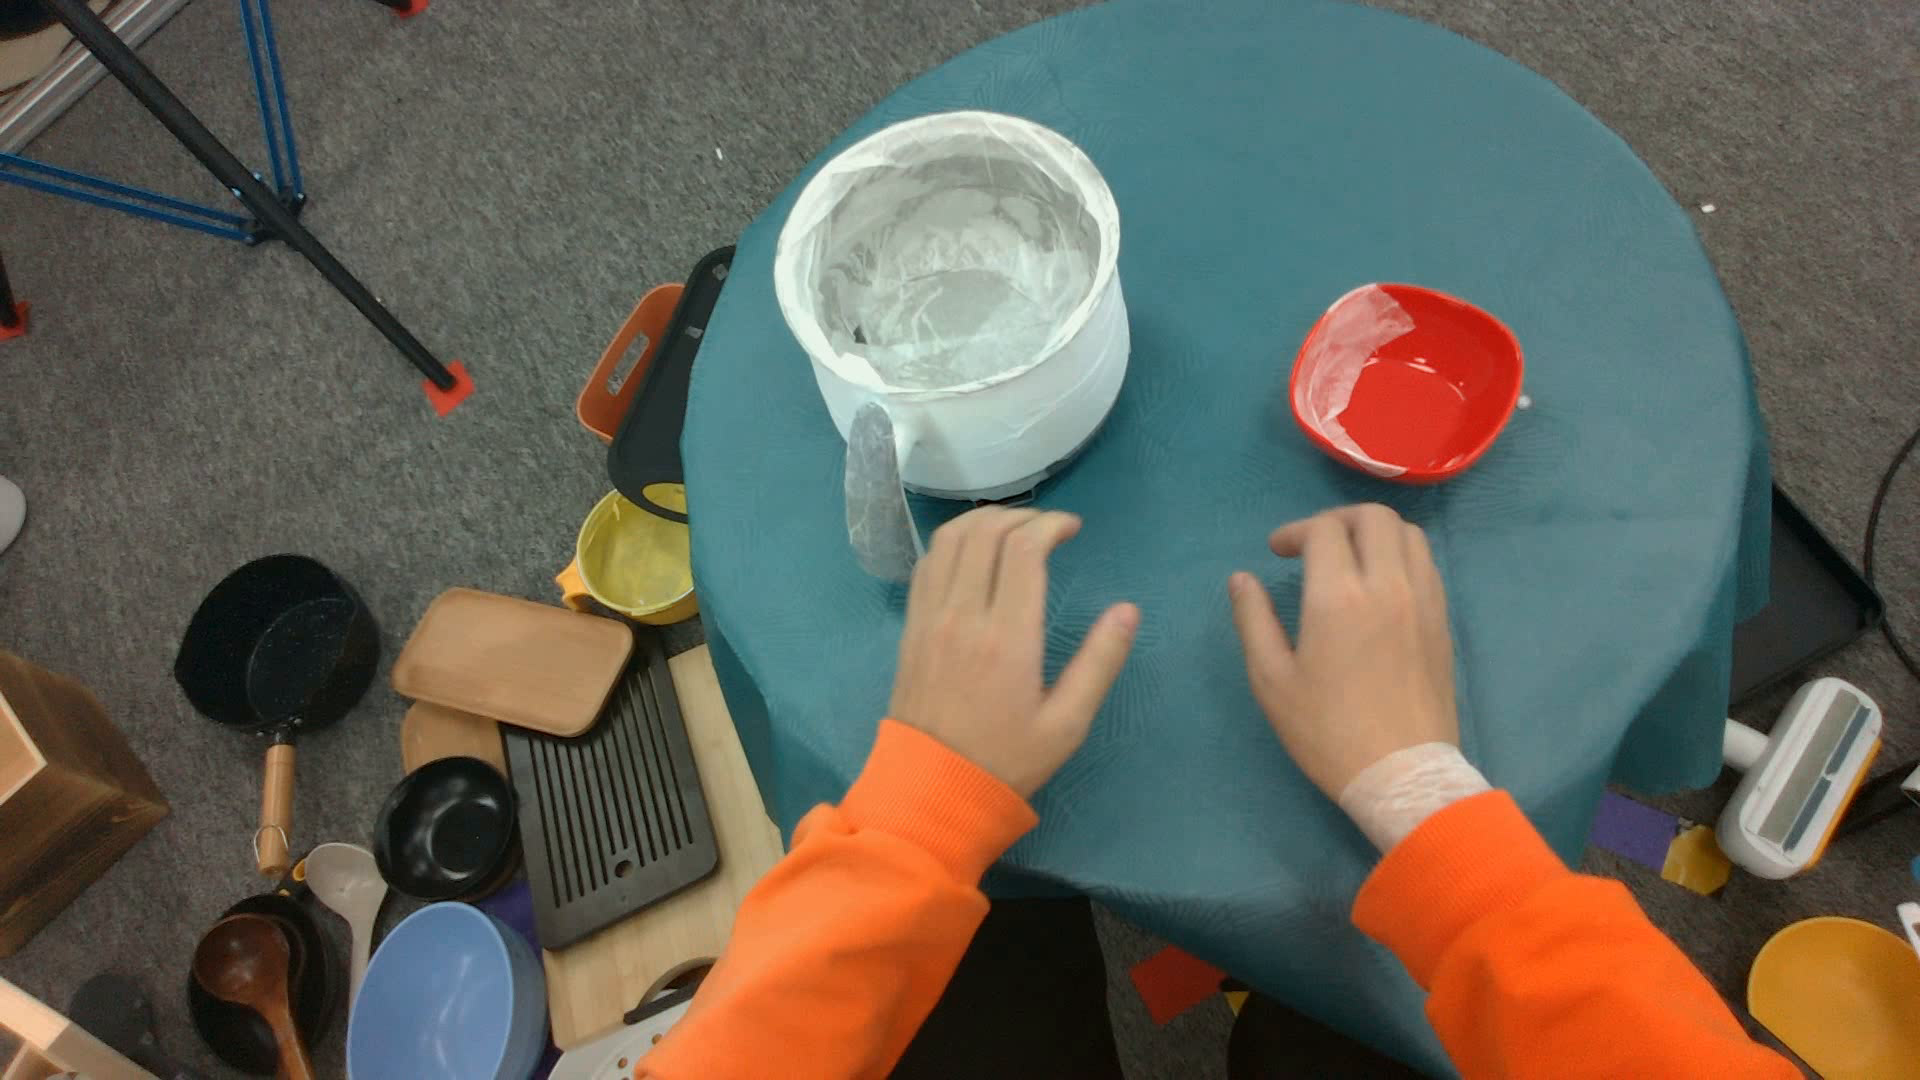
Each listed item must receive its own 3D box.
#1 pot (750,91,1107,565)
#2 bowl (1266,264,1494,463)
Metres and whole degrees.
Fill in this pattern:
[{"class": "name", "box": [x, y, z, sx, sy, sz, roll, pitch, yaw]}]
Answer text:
[{"class": "pot", "box": [-0.019, -0.107, 0.740, 0.178, 0.136, 0.234, 12, 67, 15]}, {"class": "bowl", "box": [0.221, -0.086, 0.738, 0.119, 0.051, 0.119, -3, 64, 7]}]
